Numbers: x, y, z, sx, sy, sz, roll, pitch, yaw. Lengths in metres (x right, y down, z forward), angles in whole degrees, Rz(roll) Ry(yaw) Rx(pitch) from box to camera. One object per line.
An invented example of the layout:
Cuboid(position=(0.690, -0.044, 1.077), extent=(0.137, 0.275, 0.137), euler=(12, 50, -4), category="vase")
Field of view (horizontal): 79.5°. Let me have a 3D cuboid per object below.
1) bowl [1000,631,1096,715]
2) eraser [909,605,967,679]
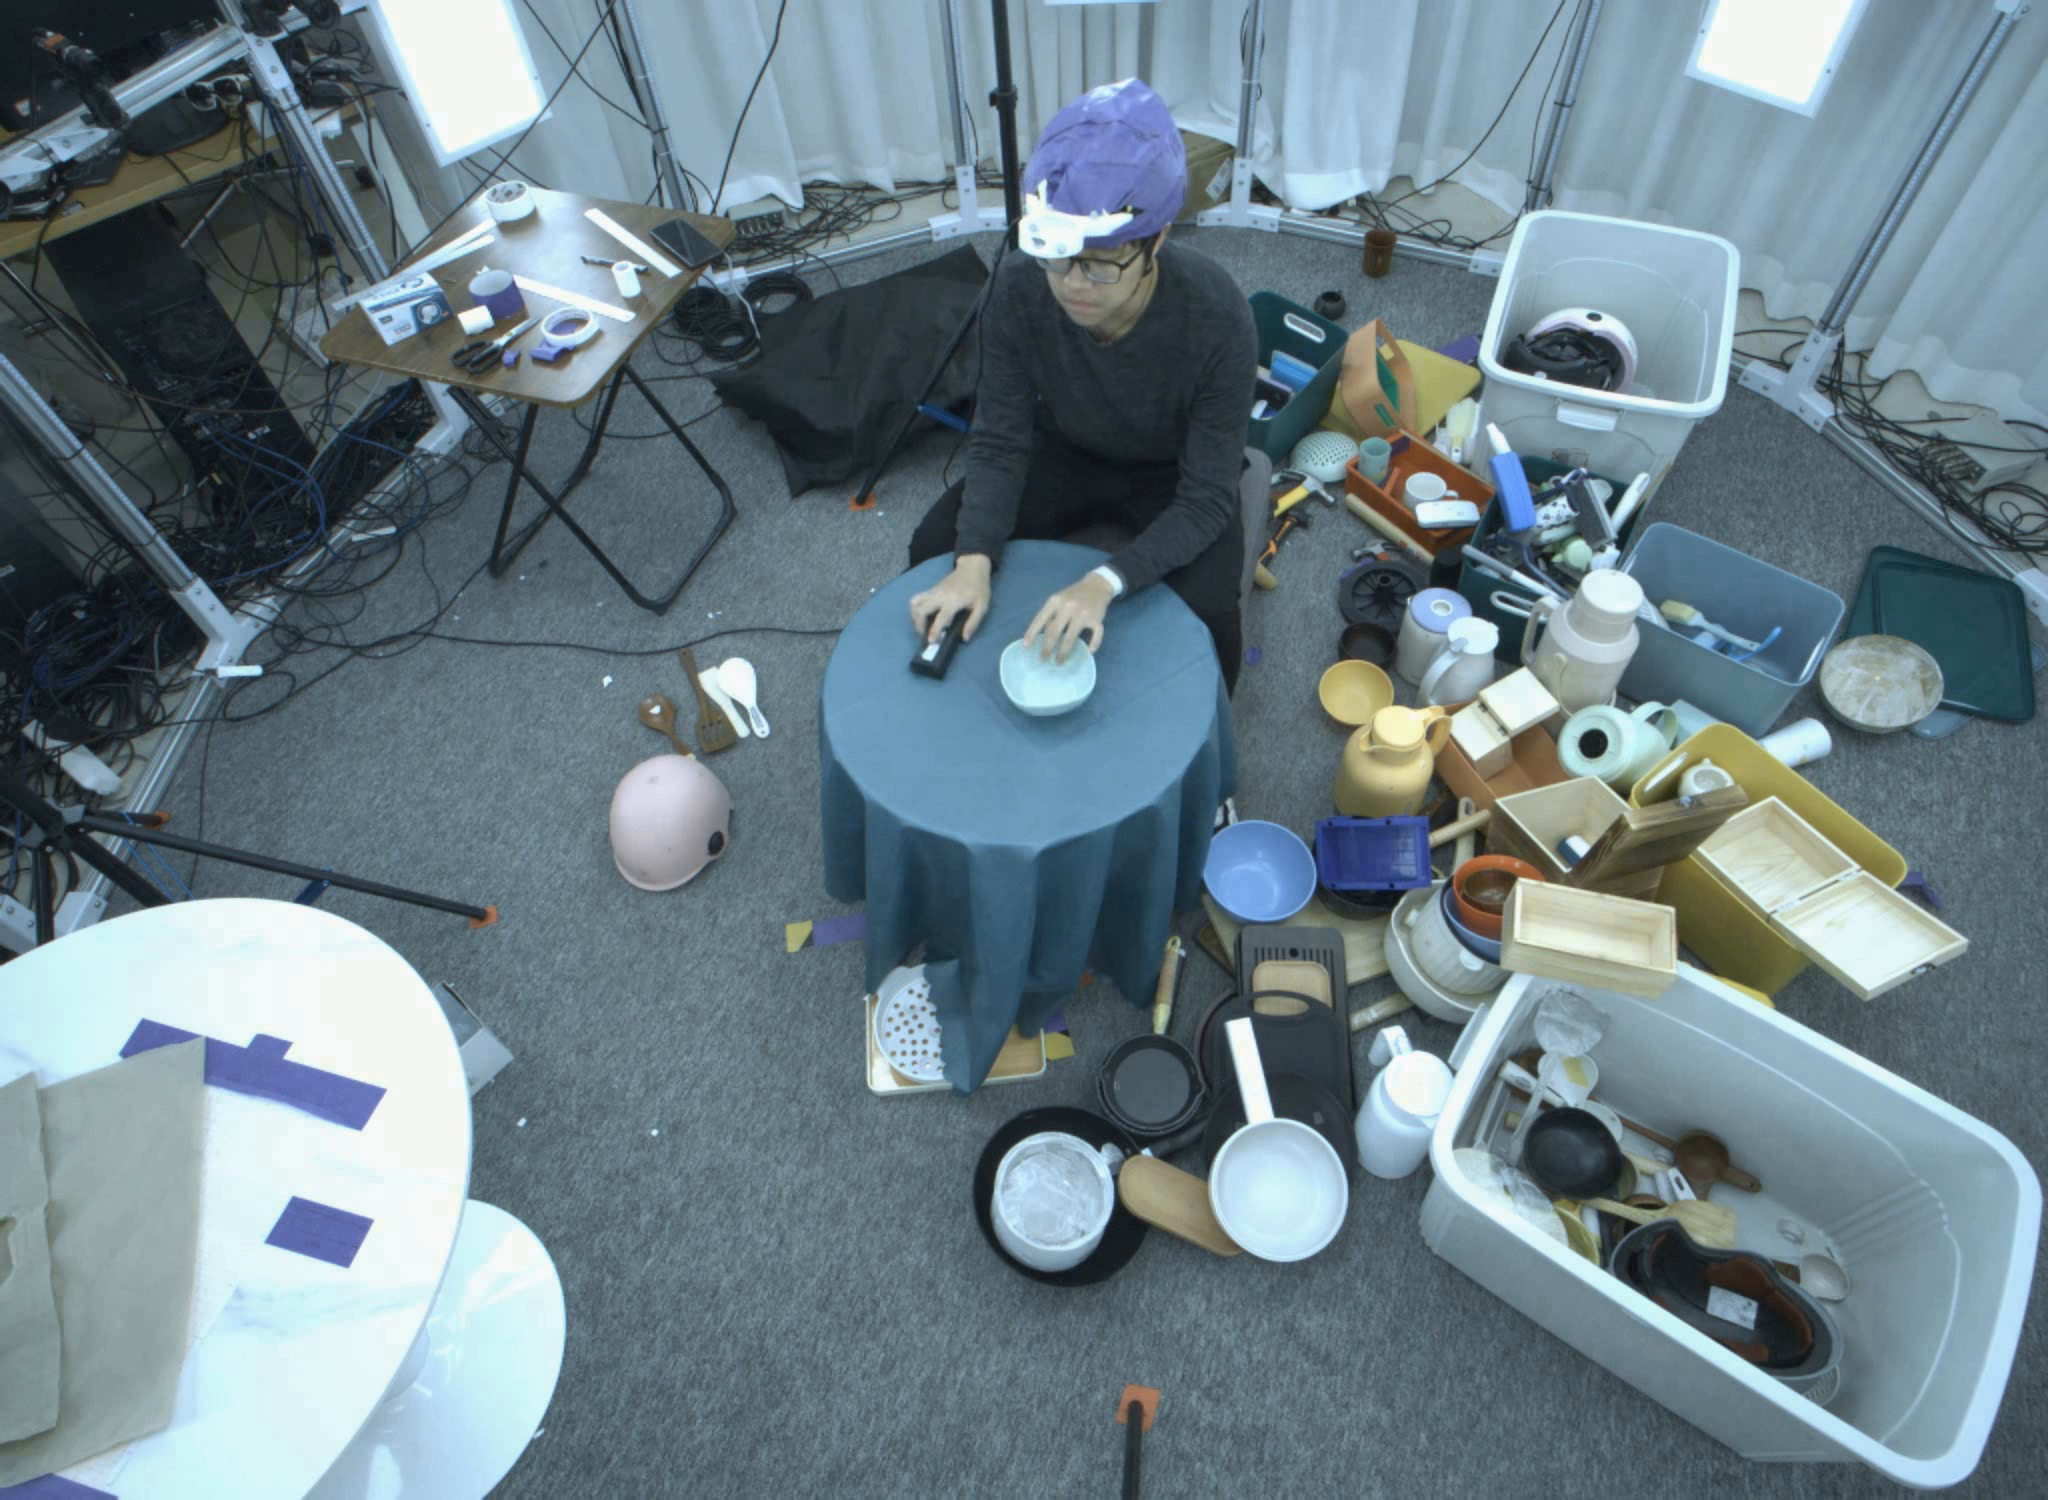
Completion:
Cuboid(position=(0.037, -0.104, 1.826), extent=(0.151, 0.059, 0.150), euler=(0, 57, 2), category="bowl")
Cuboid(position=(-0.132, -0.168, 1.893), extent=(0.053, 0.031, 0.125), euler=(15, 56, 9), category="eraser")
